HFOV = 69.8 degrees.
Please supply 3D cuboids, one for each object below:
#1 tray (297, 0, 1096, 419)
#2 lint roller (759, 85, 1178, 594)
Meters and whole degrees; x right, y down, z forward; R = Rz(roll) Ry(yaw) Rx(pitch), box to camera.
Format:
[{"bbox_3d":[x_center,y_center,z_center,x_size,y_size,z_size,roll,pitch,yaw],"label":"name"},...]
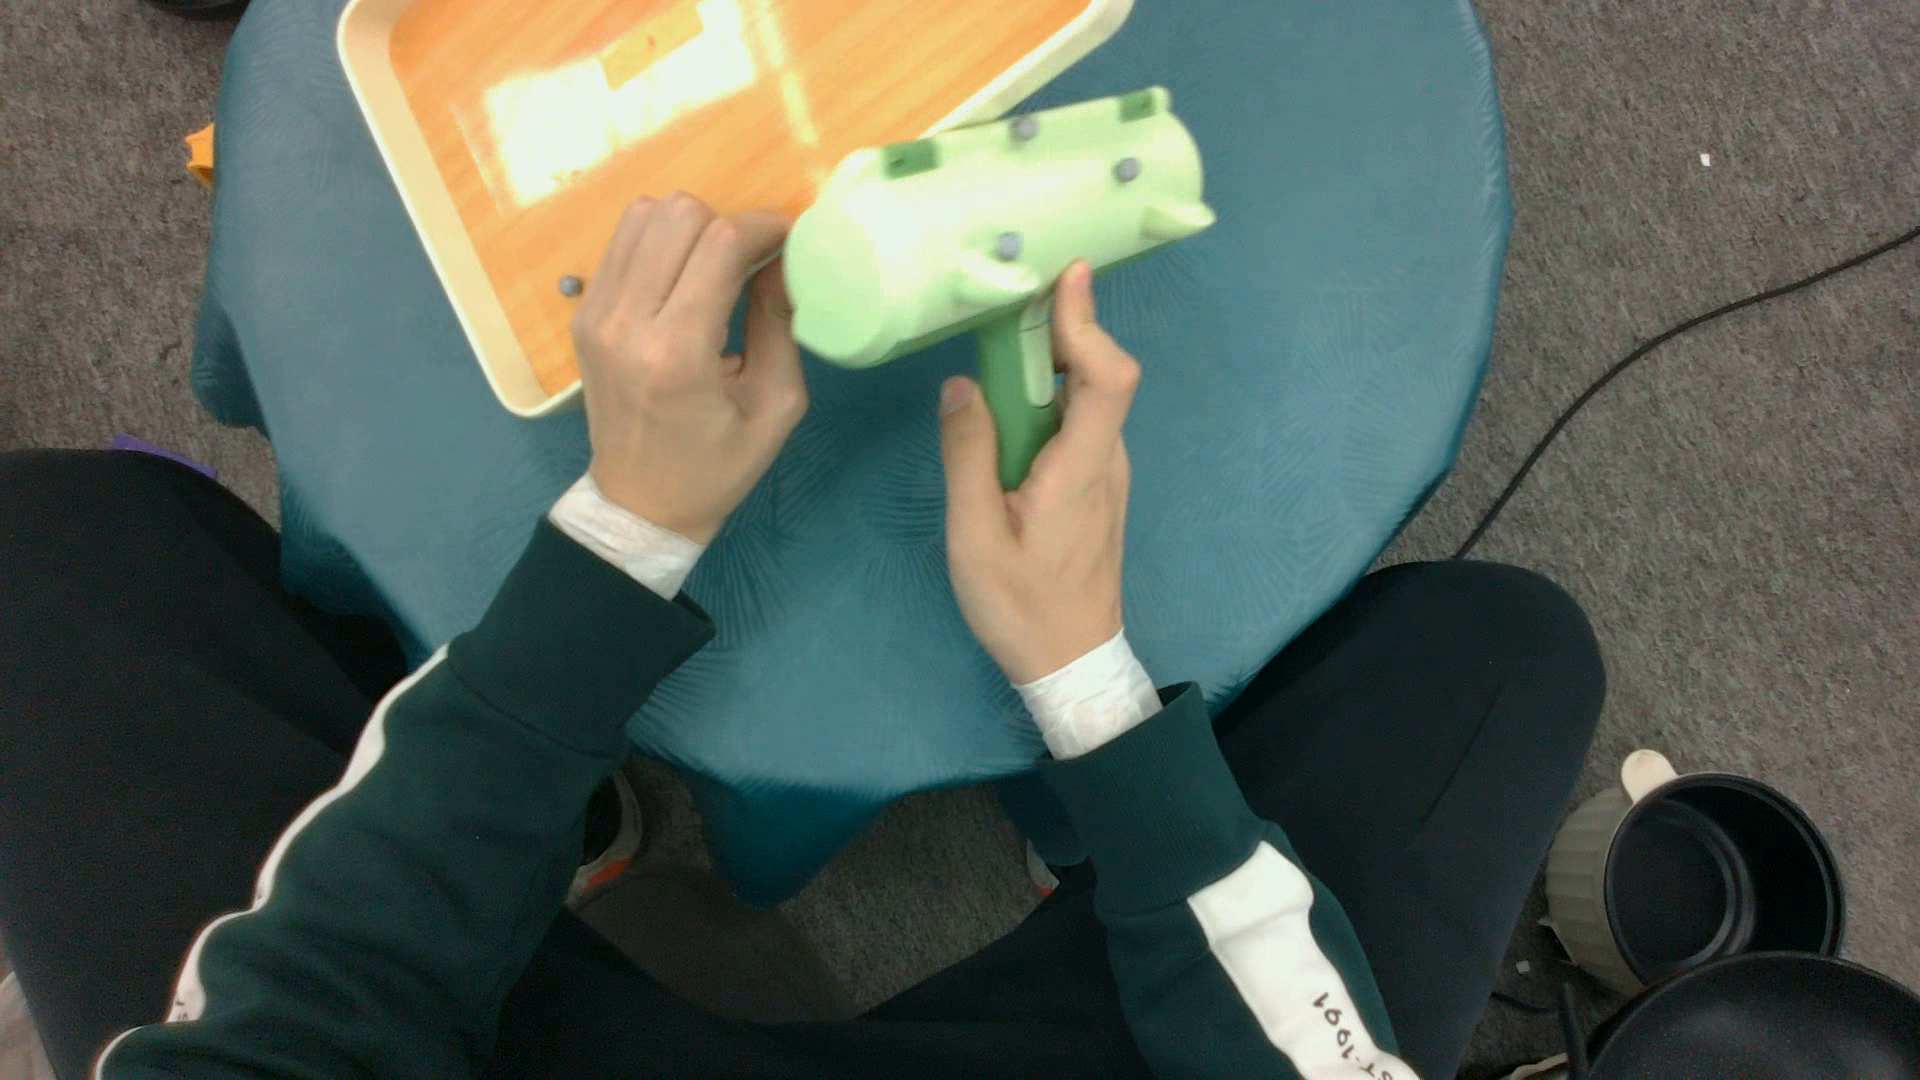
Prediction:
[{"bbox_3d":[-0.112,-0.192,0.502,0.299,0.027,0.191,-29,88,28],"label":"tray"},{"bbox_3d":[0.028,-0.065,0.512,0.199,0.082,0.183,-33,112,-47],"label":"lint roller"}]
